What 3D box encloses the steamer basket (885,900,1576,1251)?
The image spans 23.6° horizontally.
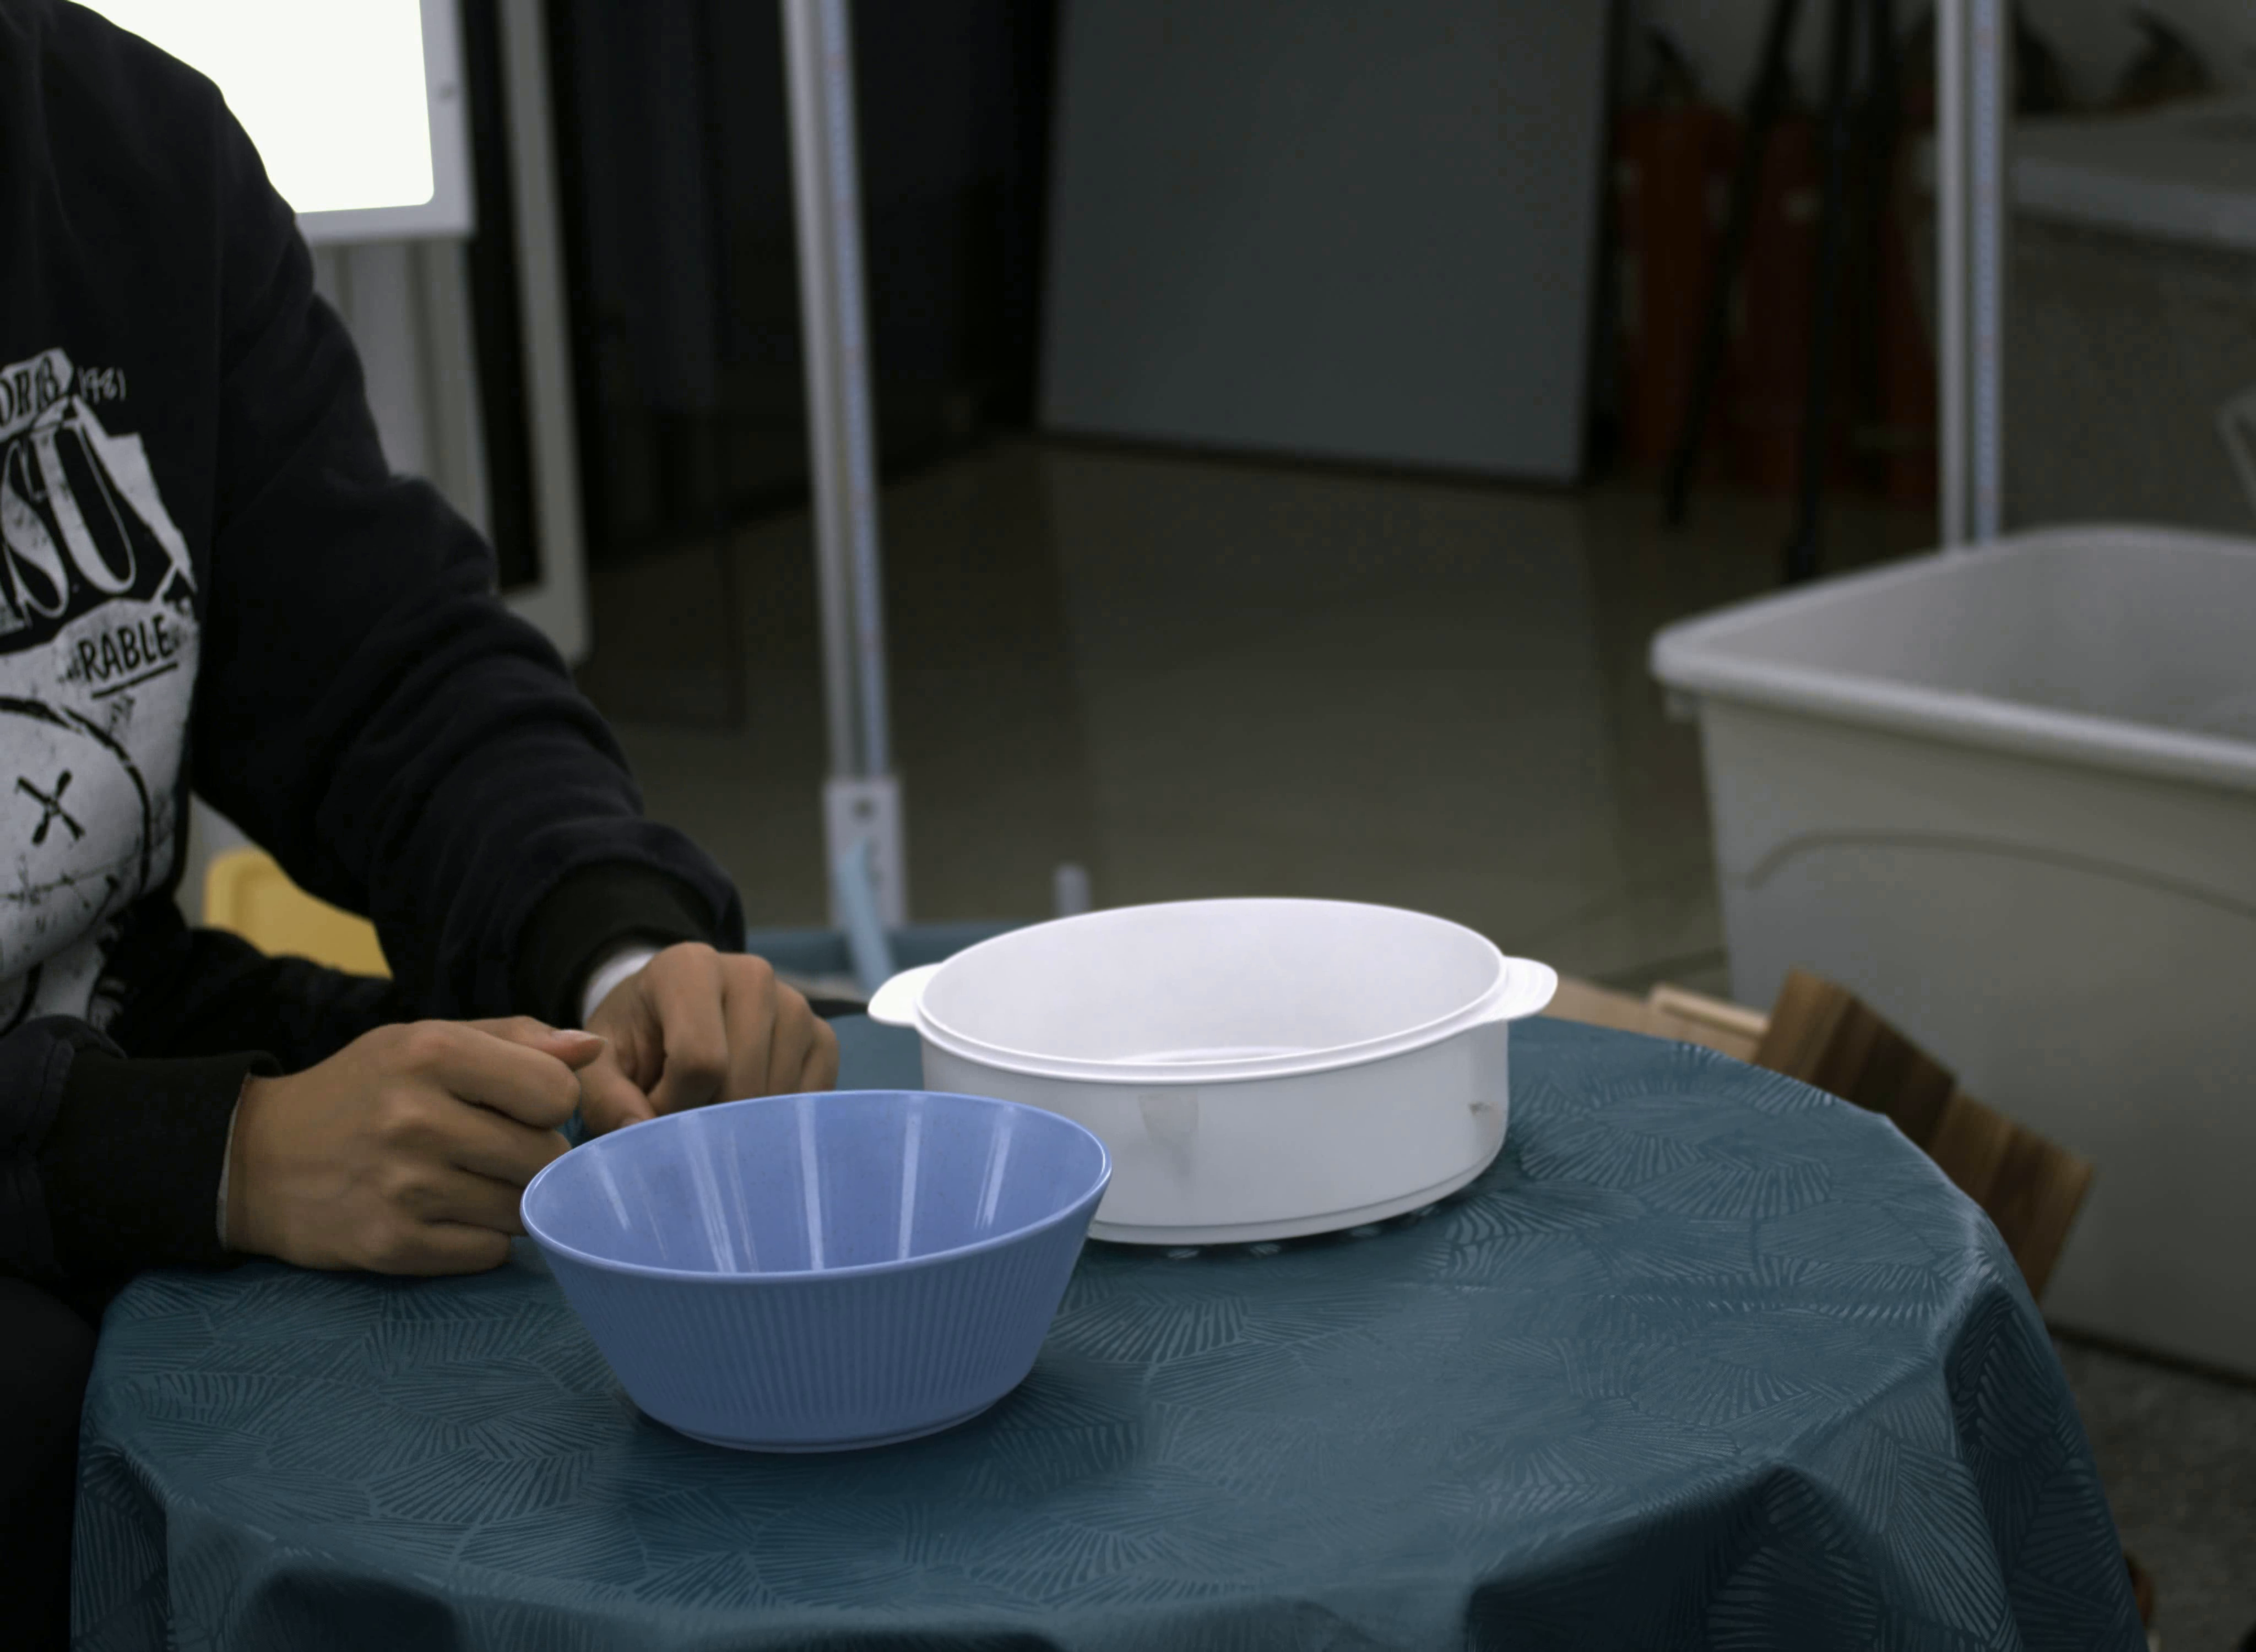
[{"bbox_3d":[0.034,0.081,1.779,0.229,0.070,0.201,1,14,11],"label":"steamer basket"}]

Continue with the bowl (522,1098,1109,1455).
[{"bbox_3d":[-0.089,0.135,1.593,0.174,0.071,0.176,-4,13,0],"label":"bowl"}]
